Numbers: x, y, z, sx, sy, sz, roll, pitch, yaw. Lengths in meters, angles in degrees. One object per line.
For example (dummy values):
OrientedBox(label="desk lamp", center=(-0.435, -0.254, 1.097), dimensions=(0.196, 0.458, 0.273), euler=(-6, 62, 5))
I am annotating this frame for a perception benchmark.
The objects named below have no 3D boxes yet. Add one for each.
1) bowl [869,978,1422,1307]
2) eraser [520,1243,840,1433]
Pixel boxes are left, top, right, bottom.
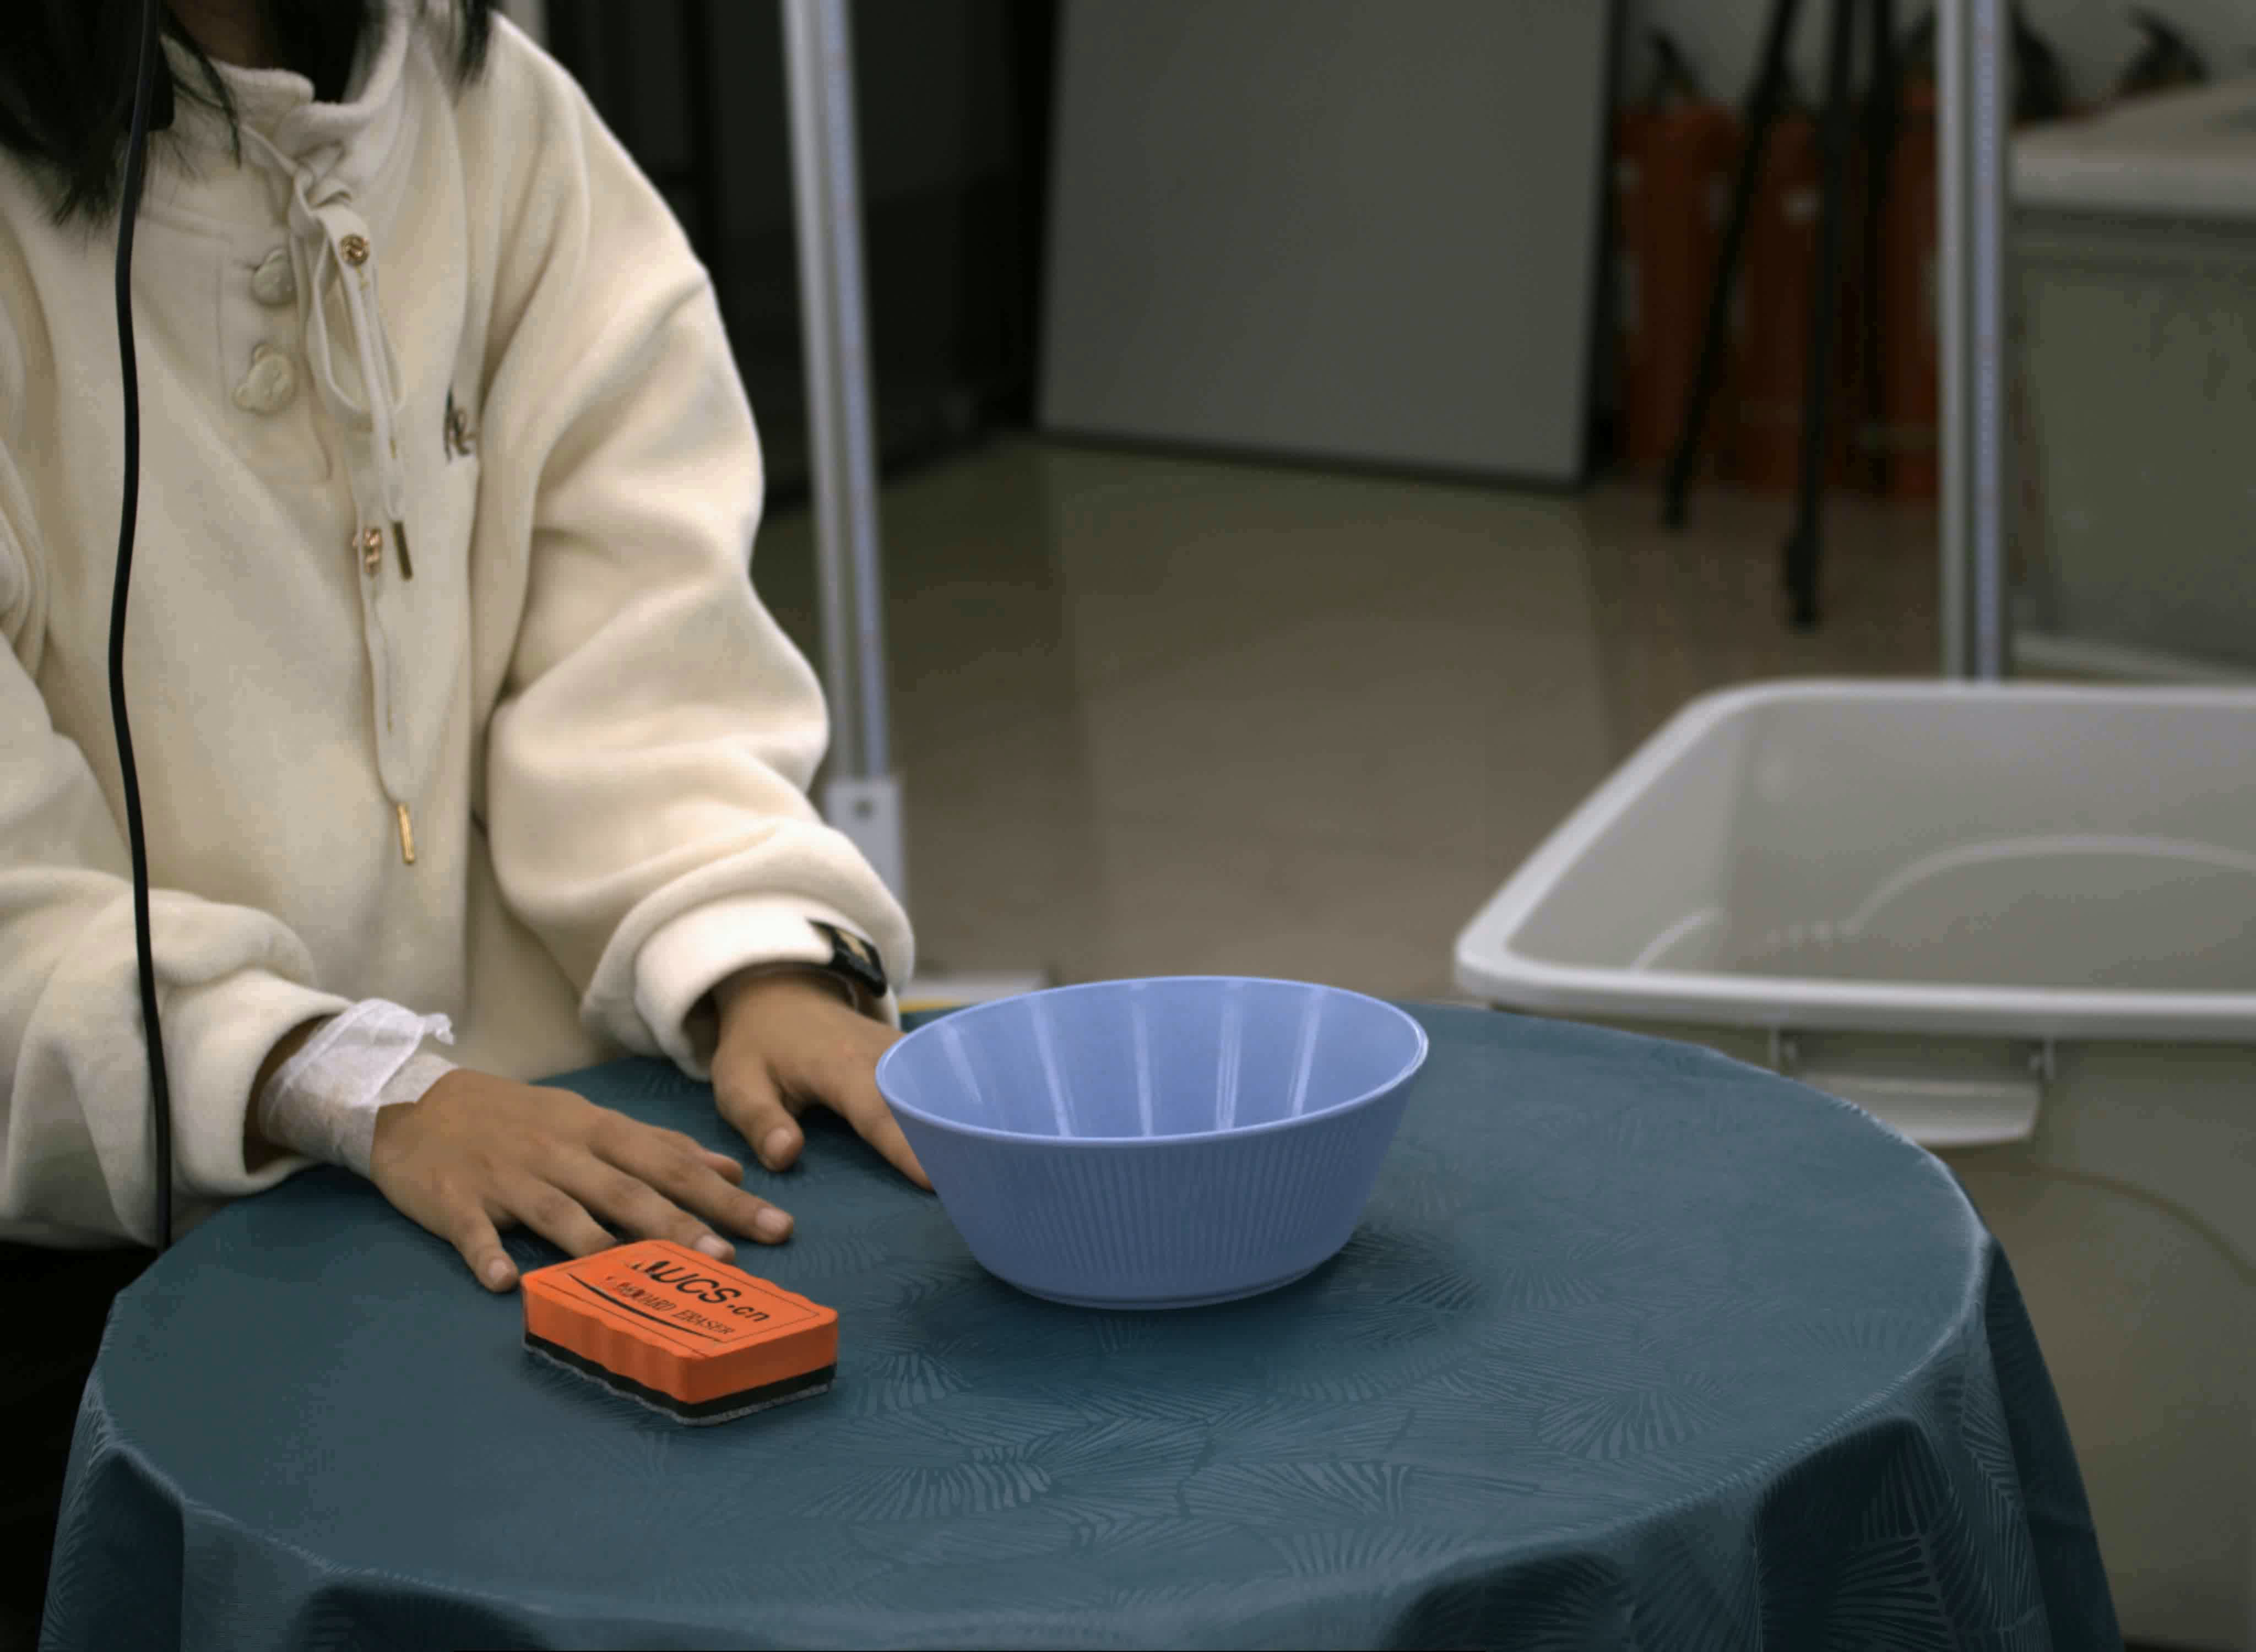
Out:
OrientedBox(label="bowl", center=(0.007, 0.102, 1.696), dimensions=(0.174, 0.071, 0.176), euler=(-4, 14, 0))
OrientedBox(label="eraser", center=(-0.135, 0.153, 1.631), dimensions=(0.058, 0.023, 0.109), euler=(-16, 18, -32))
